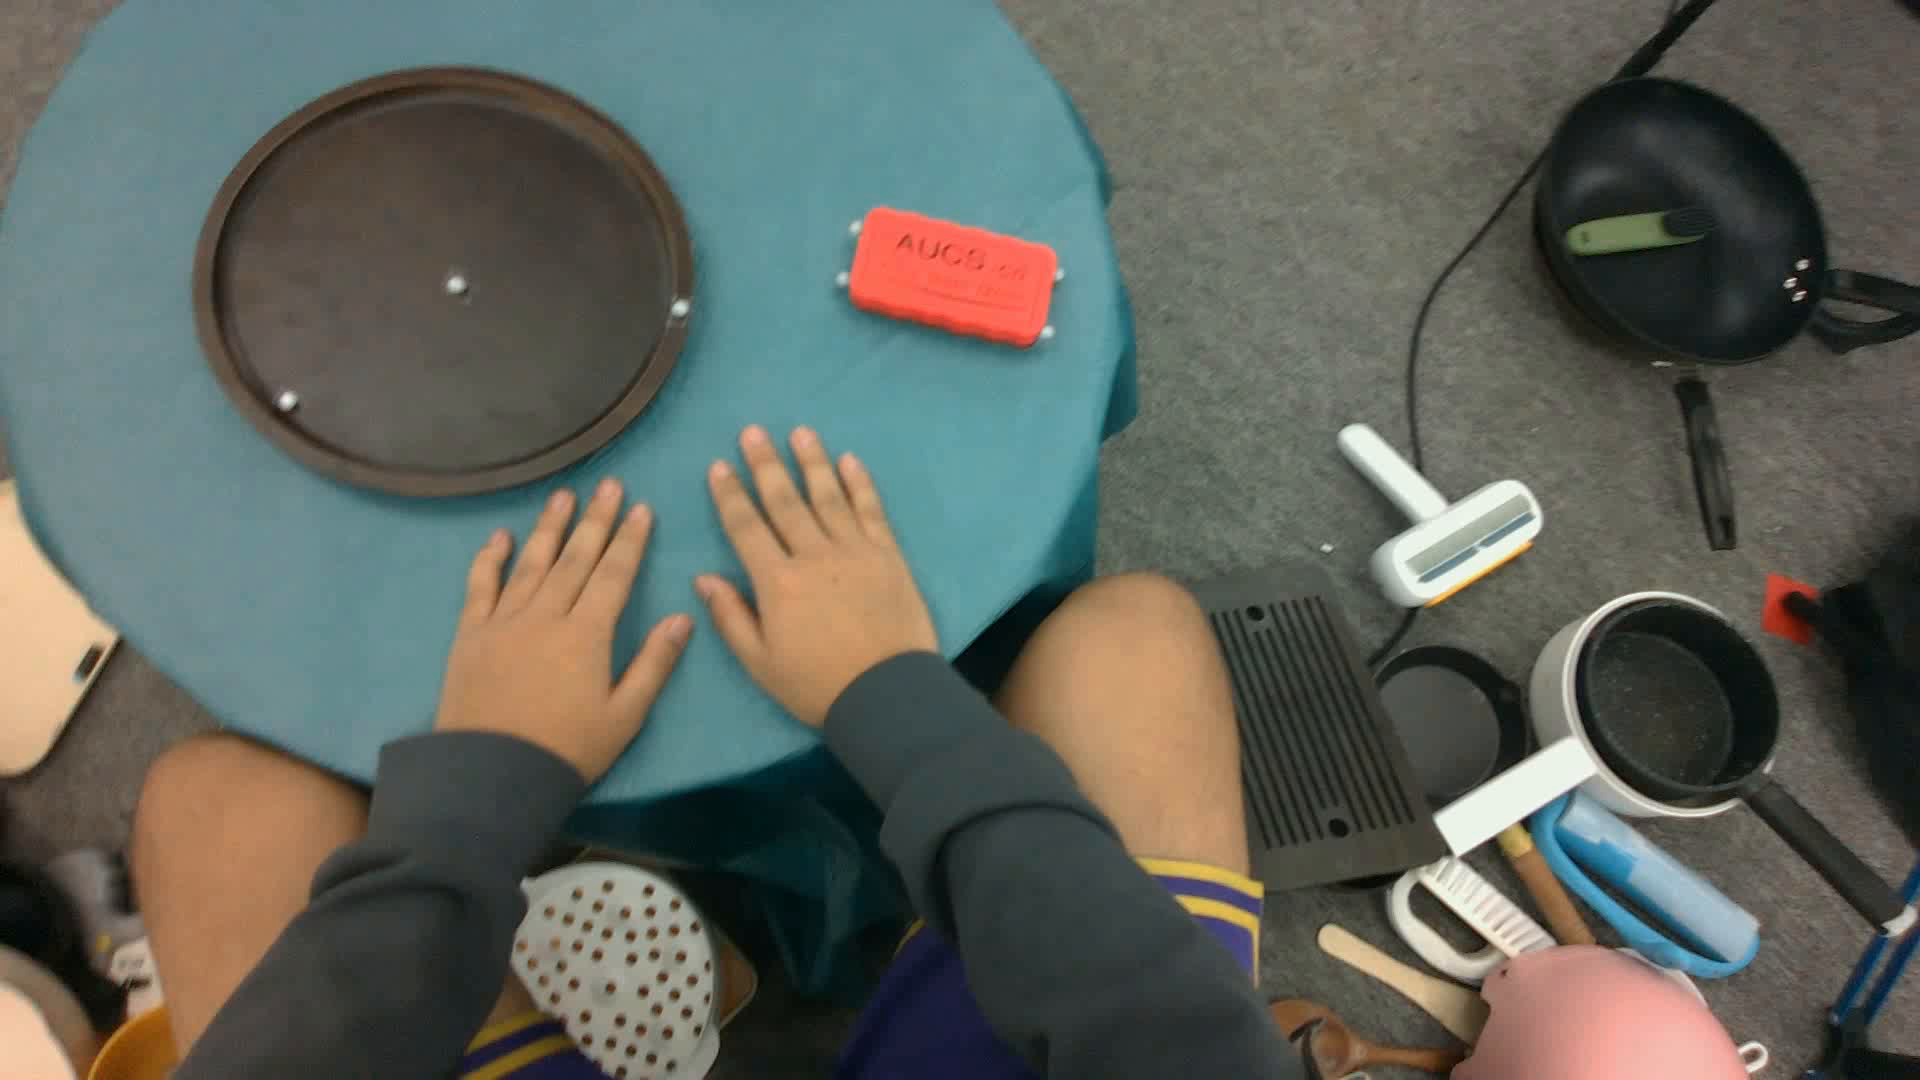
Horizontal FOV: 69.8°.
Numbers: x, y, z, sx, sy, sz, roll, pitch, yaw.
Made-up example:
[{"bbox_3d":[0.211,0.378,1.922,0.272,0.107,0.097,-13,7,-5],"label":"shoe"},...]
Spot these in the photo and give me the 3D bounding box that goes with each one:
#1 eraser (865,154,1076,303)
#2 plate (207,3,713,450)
[{"bbox_3d":[0.006,-0.169,0.750,0.108,0.023,0.059,14,74,-4],"label":"eraser"},{"bbox_3d":[-0.258,-0.167,0.722,0.255,0.029,0.255,2,75,-8],"label":"plate"}]
